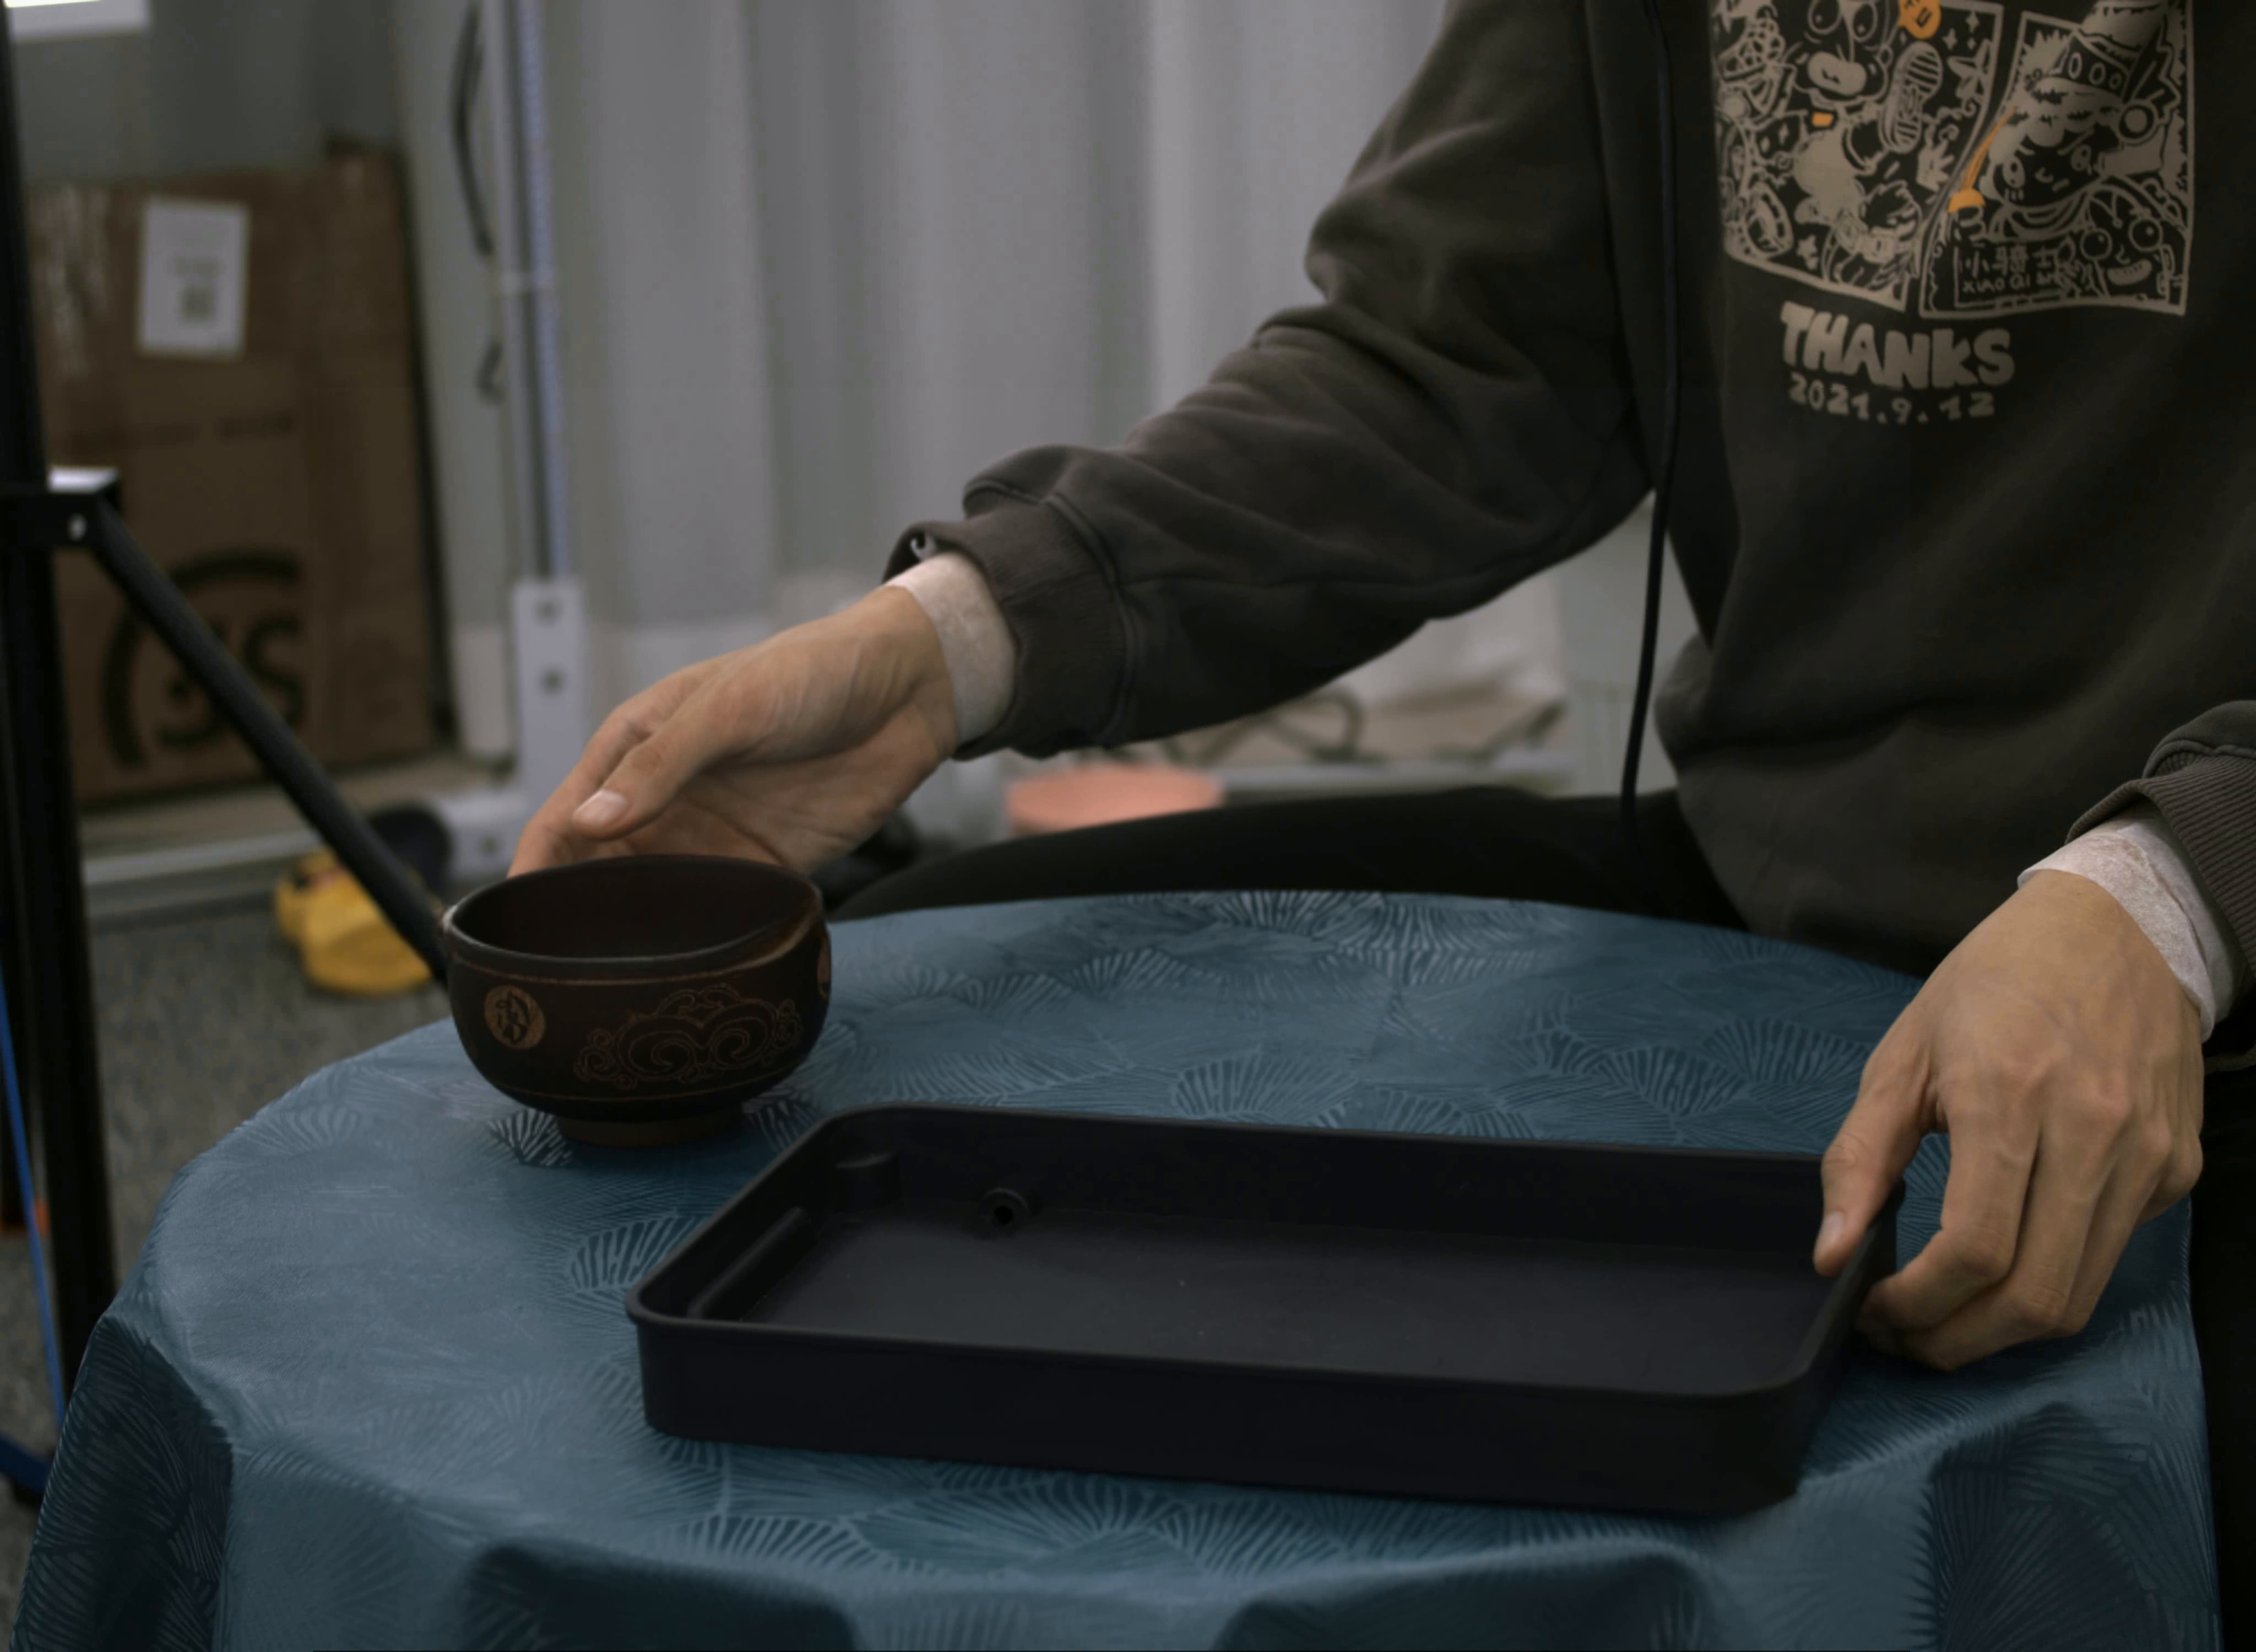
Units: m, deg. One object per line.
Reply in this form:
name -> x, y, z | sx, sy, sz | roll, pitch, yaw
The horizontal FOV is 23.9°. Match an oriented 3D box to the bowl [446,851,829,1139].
bowl -> -0.150, 0.055, 1.643 | 0.117, 0.070, 0.118 | -2, 14, -1

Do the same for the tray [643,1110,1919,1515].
tray -> 0.045, 0.127, 1.421 | 0.321, 0.037, 0.182 | 1, 16, 18
